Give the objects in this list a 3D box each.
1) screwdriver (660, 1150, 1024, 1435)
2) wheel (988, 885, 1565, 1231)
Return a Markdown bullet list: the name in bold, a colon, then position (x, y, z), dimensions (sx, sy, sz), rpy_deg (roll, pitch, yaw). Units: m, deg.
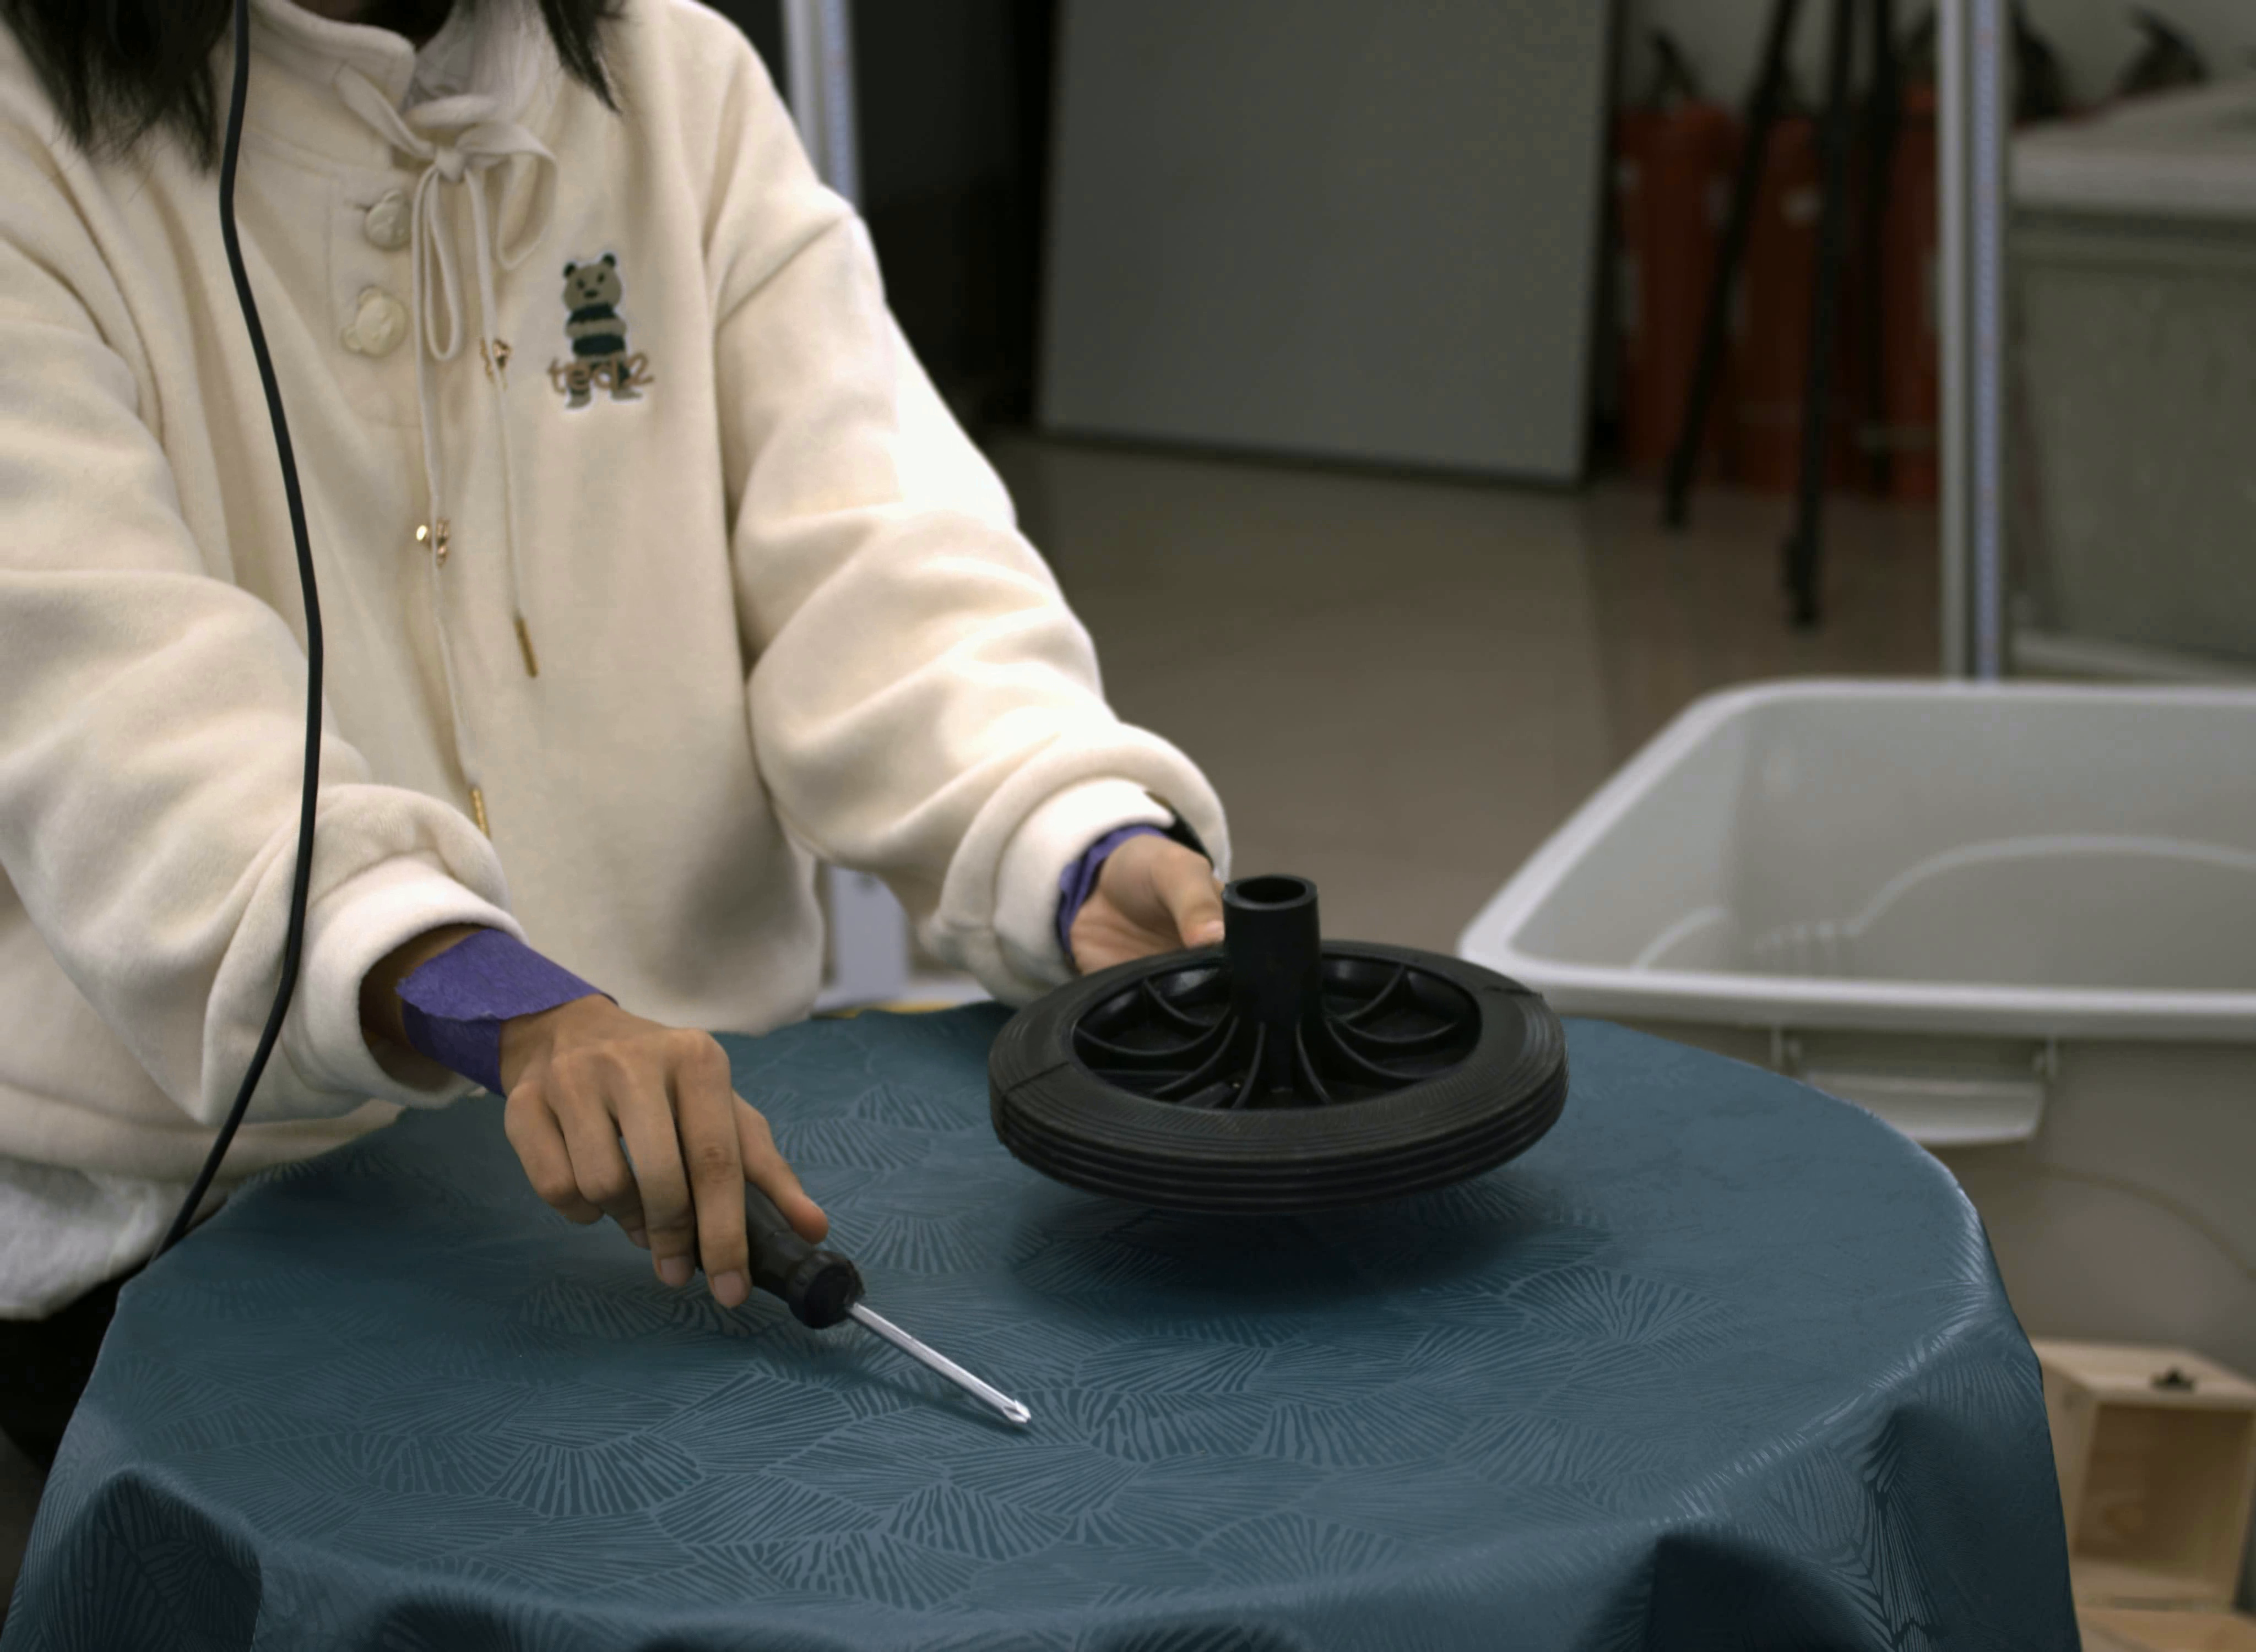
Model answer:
- **screwdriver**: position (-0.083, 0.140, 1.629), dimensions (0.031, 0.032, 0.198), rpy_deg (-13, 25, -35)
- **wheel**: position (0.046, 0.062, 1.717), dimensions (0.187, 0.080, 0.188), rpy_deg (2, 21, 17)
